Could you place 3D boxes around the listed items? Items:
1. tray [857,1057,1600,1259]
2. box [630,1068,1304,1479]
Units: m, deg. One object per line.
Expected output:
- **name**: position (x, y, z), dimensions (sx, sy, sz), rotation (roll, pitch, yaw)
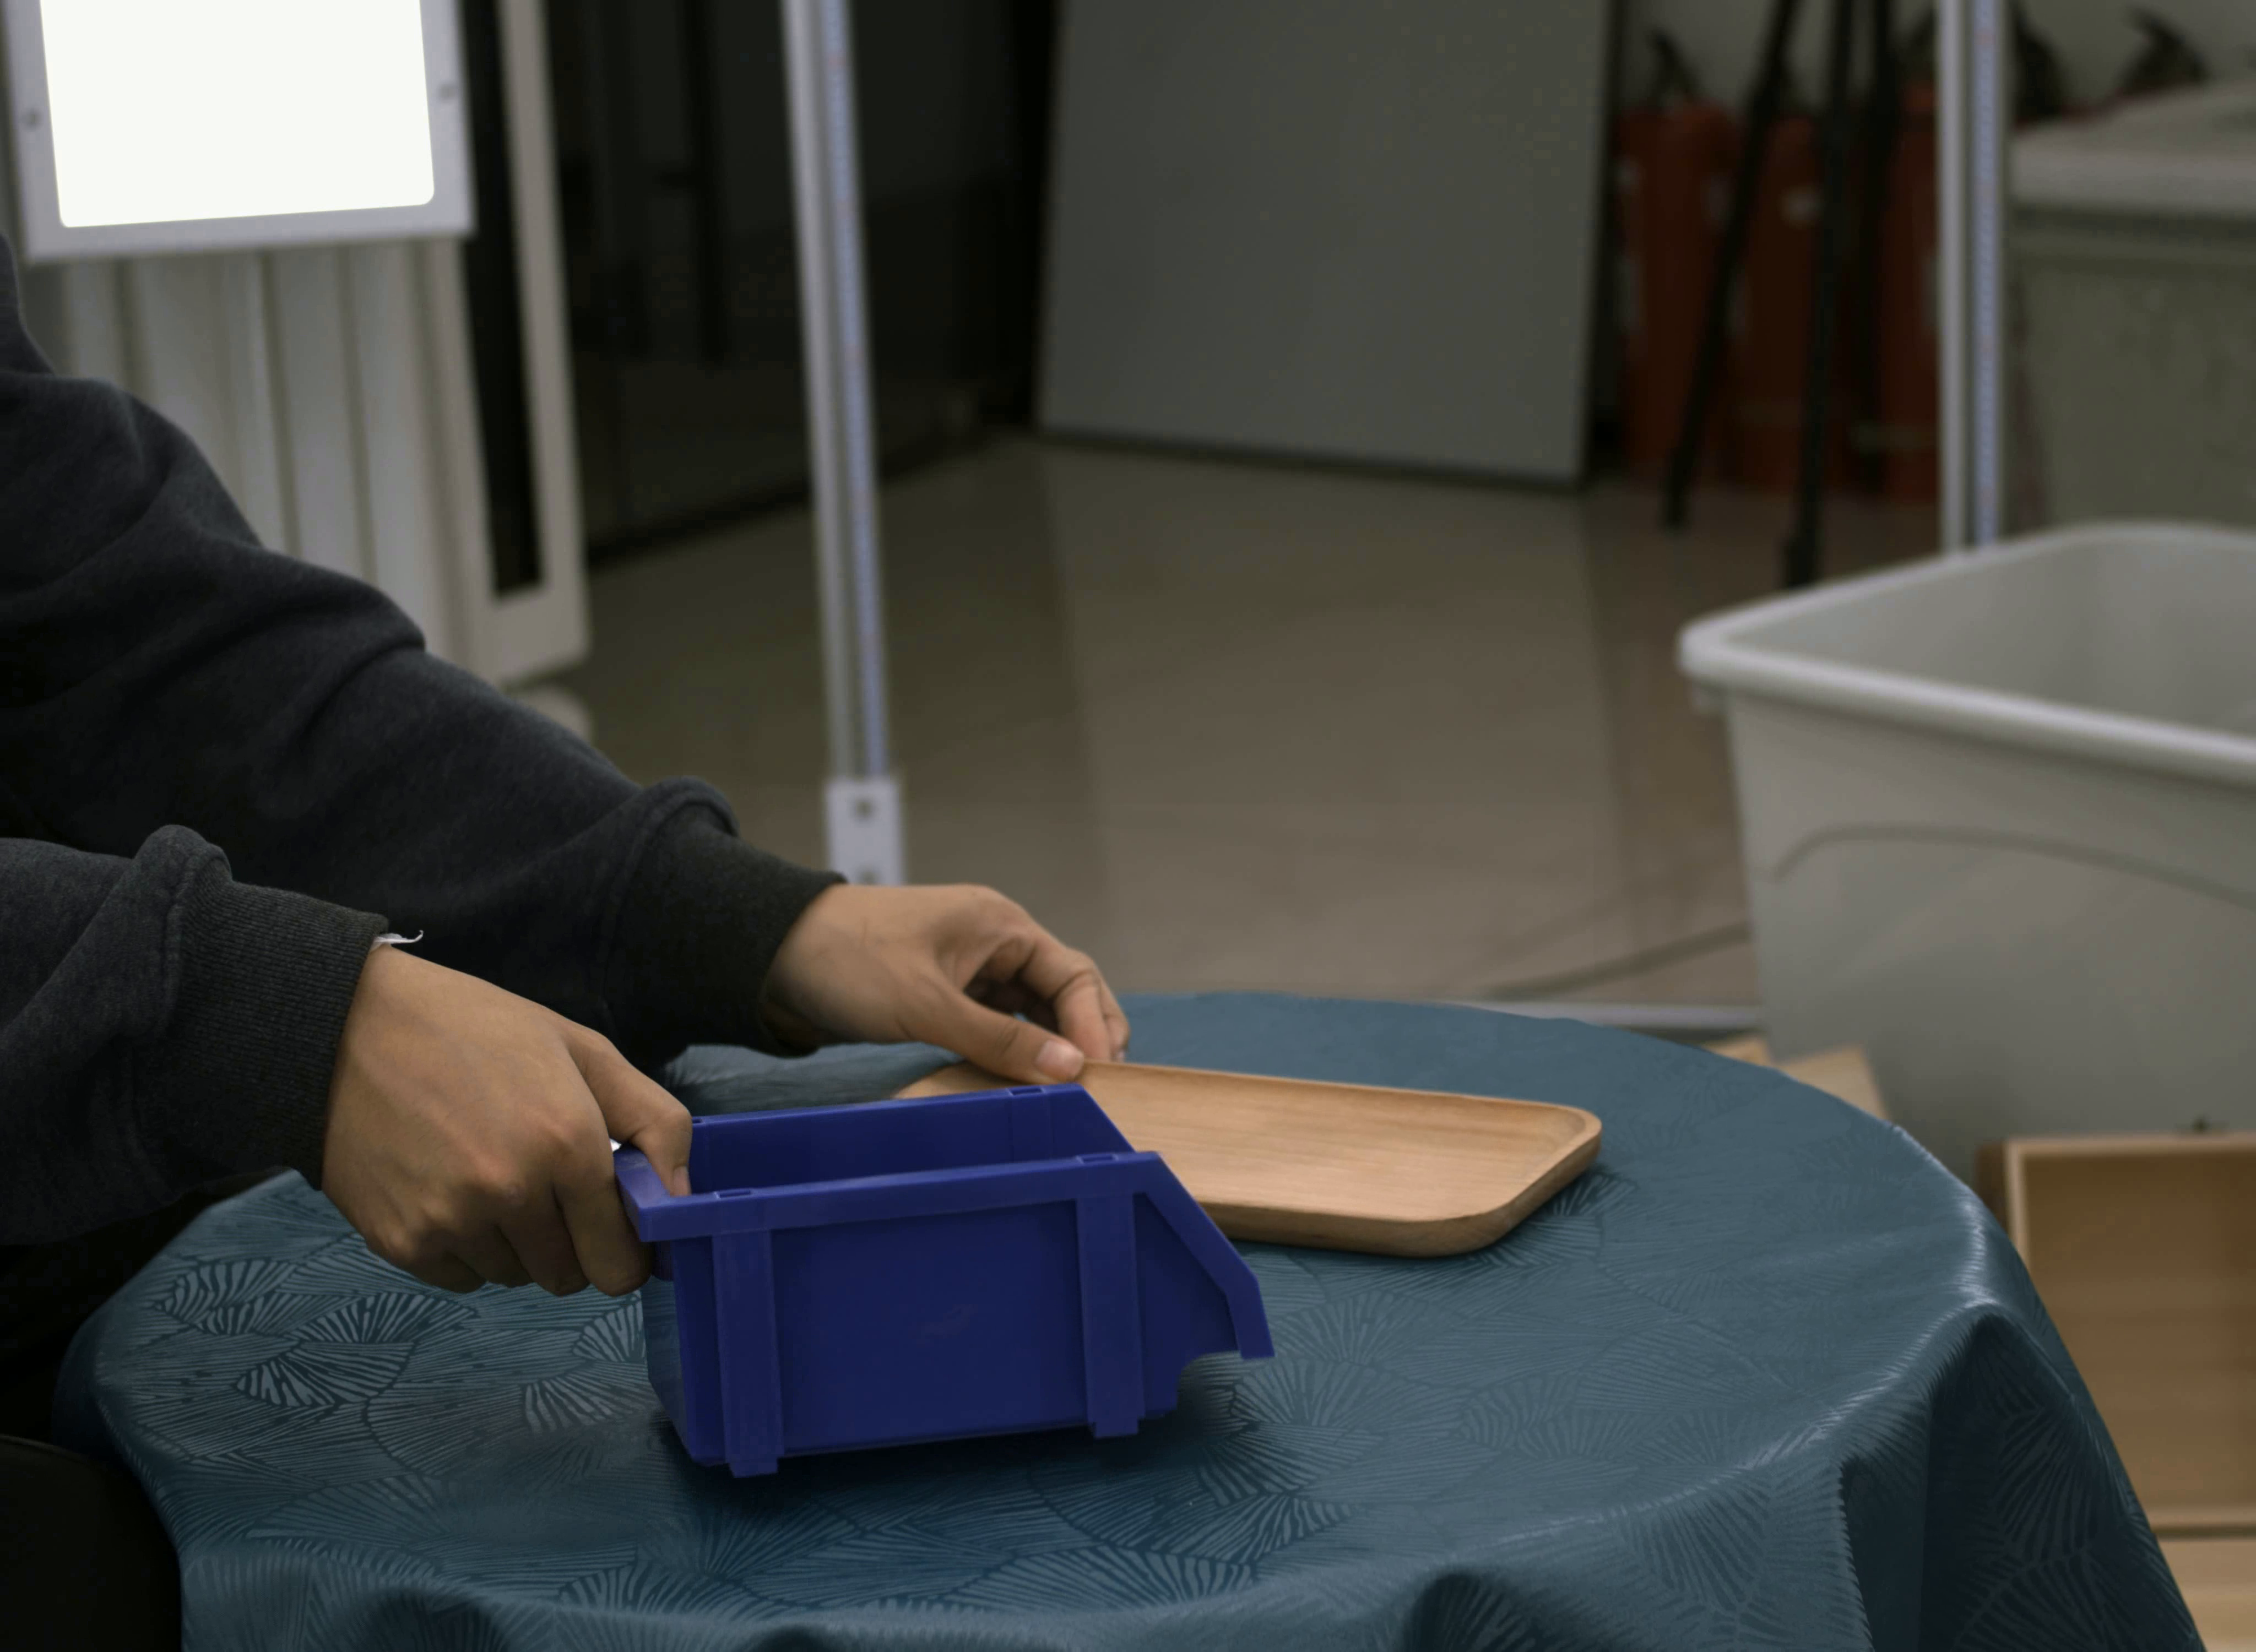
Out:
- **tray**: position (0.026, 0.108, 1.777), dimensions (0.251, 0.023, 0.128), rotation (3, 13, 29)
- **box**: position (-0.048, 0.126, 1.561), dimensions (0.176, 0.083, 0.125), rotation (-8, 8, -7)
